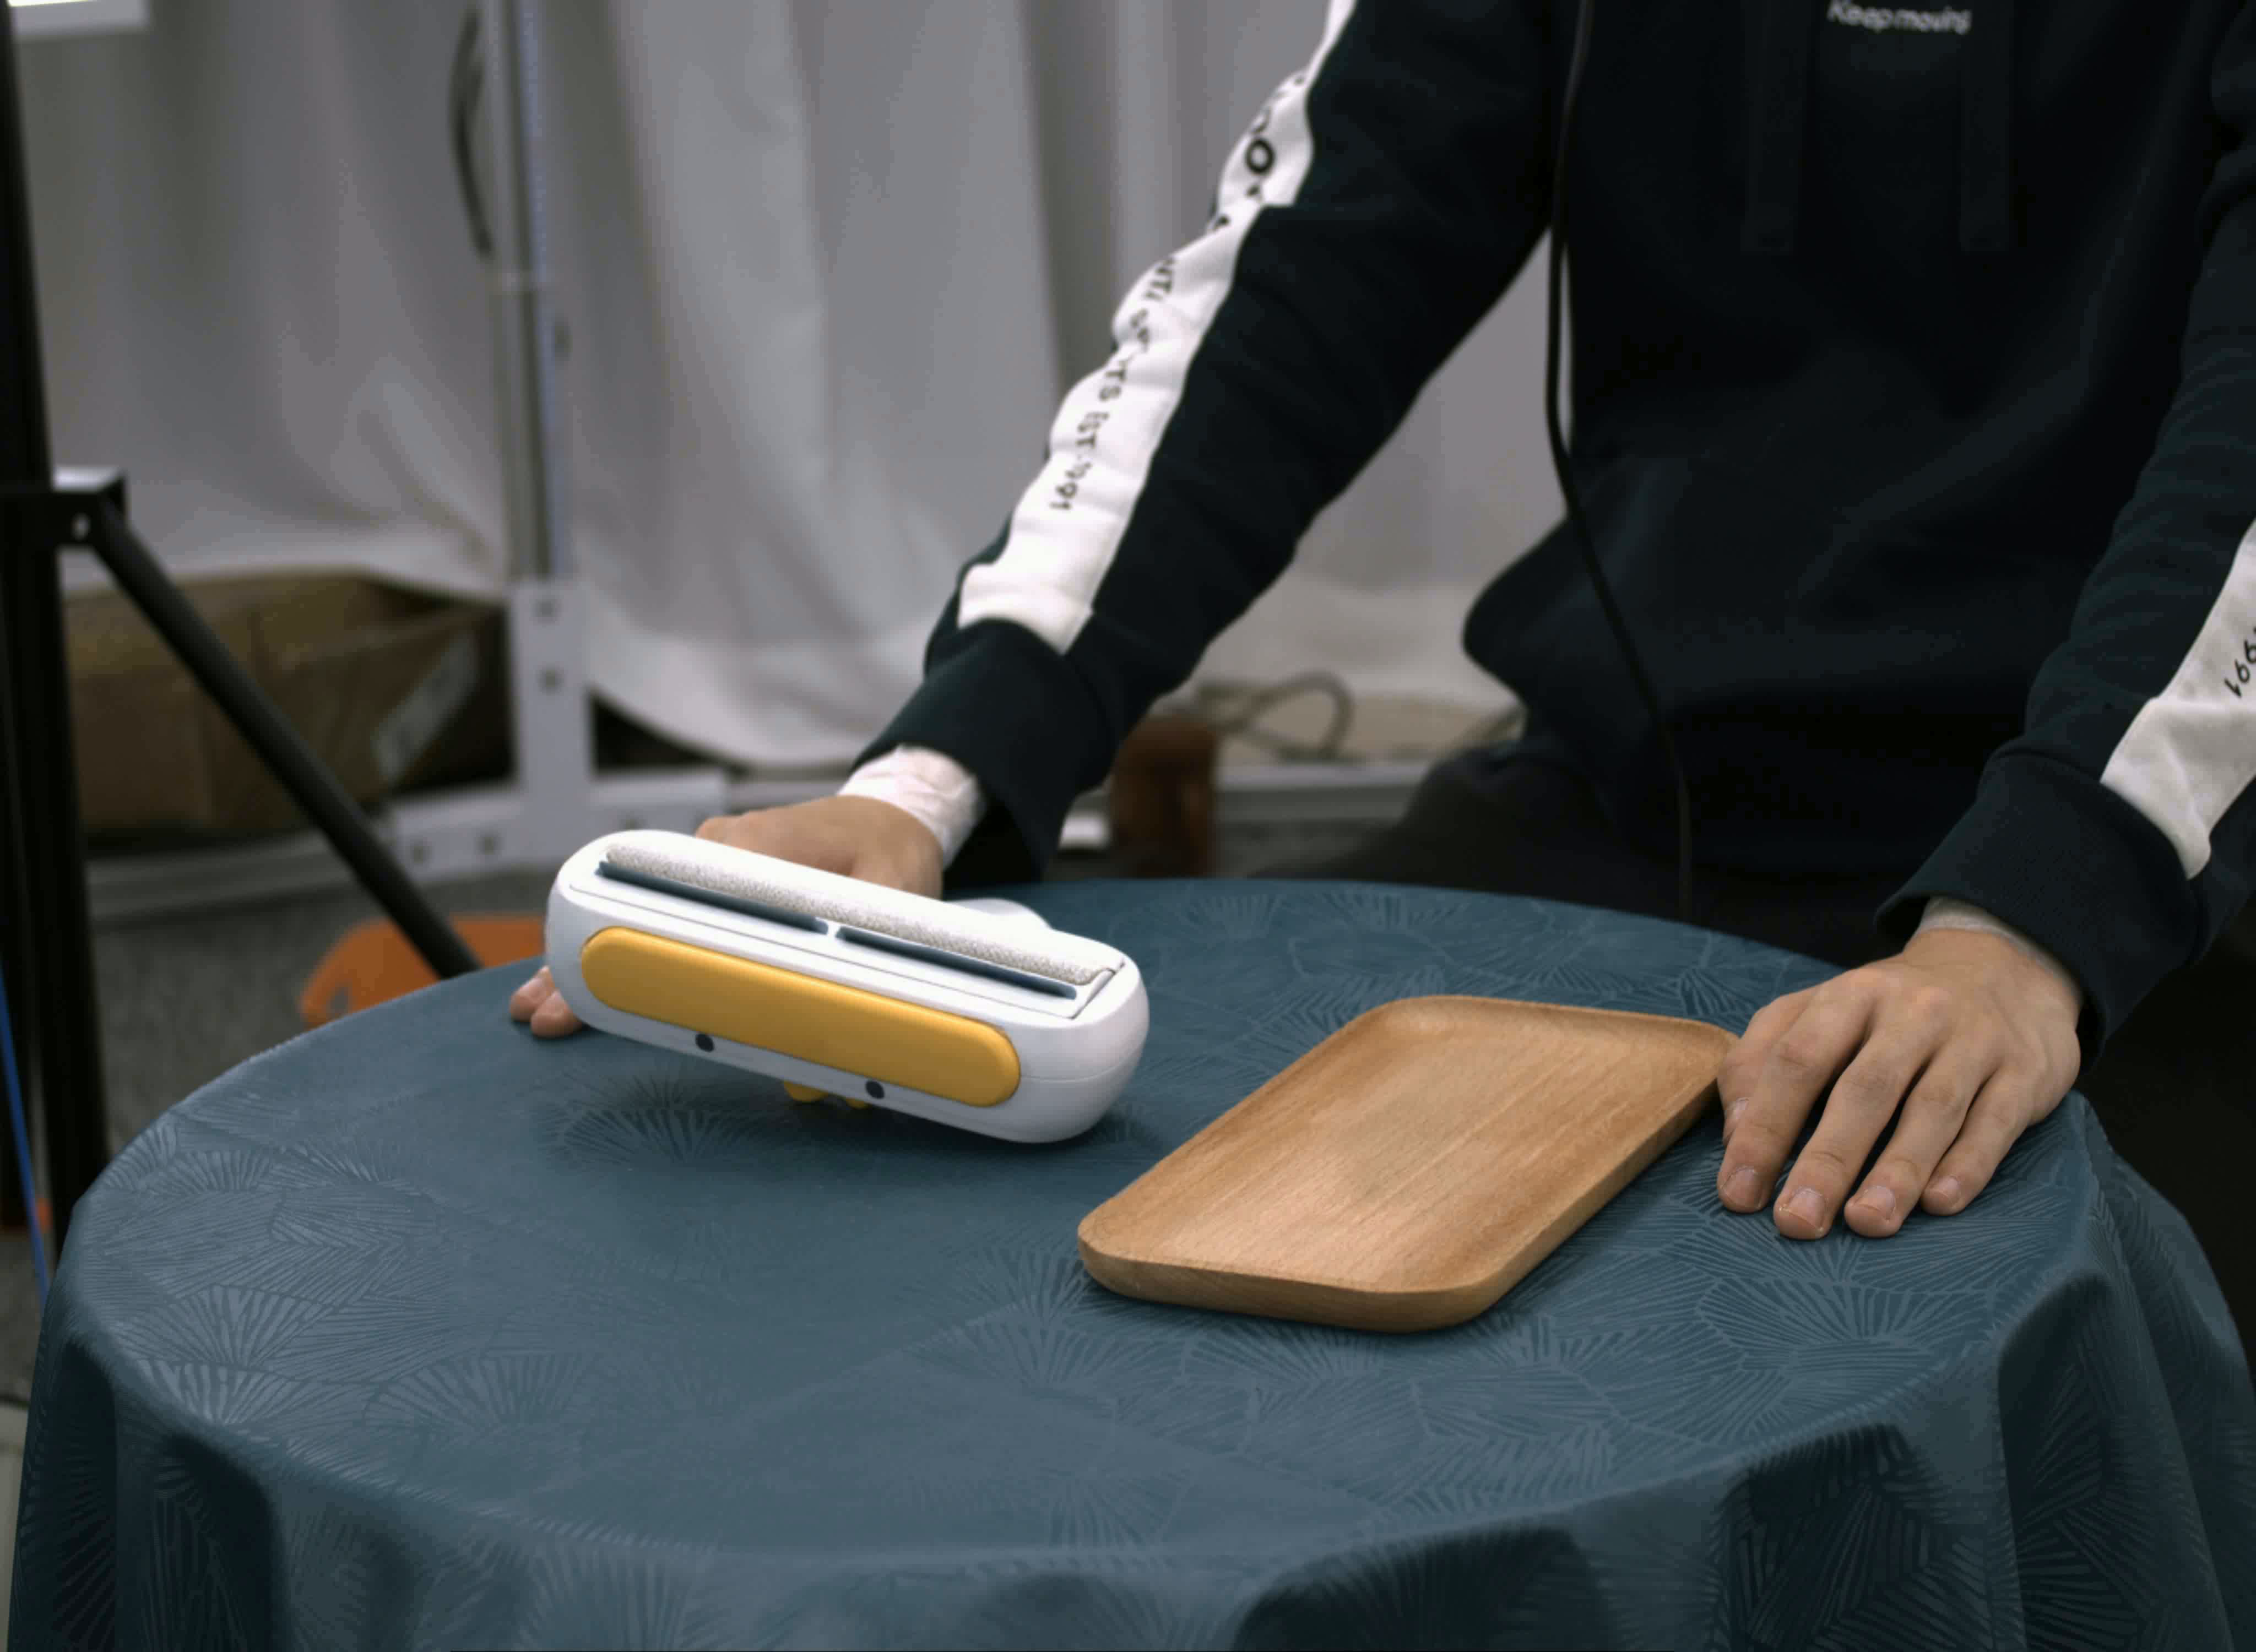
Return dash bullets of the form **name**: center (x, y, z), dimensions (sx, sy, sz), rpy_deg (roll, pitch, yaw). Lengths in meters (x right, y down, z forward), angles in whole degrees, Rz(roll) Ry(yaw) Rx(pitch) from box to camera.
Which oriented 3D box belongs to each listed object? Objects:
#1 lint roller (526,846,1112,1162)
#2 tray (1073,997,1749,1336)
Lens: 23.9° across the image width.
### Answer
- **lint roller**: center (-0.073, 0.059, 1.687), dimensions (0.196, 0.074, 0.188), rpy_deg (13, 6, 25)
- **tray**: center (0.087, 0.097, 1.553), dimensions (0.133, 0.023, 0.246), rpy_deg (8, 18, 27)
